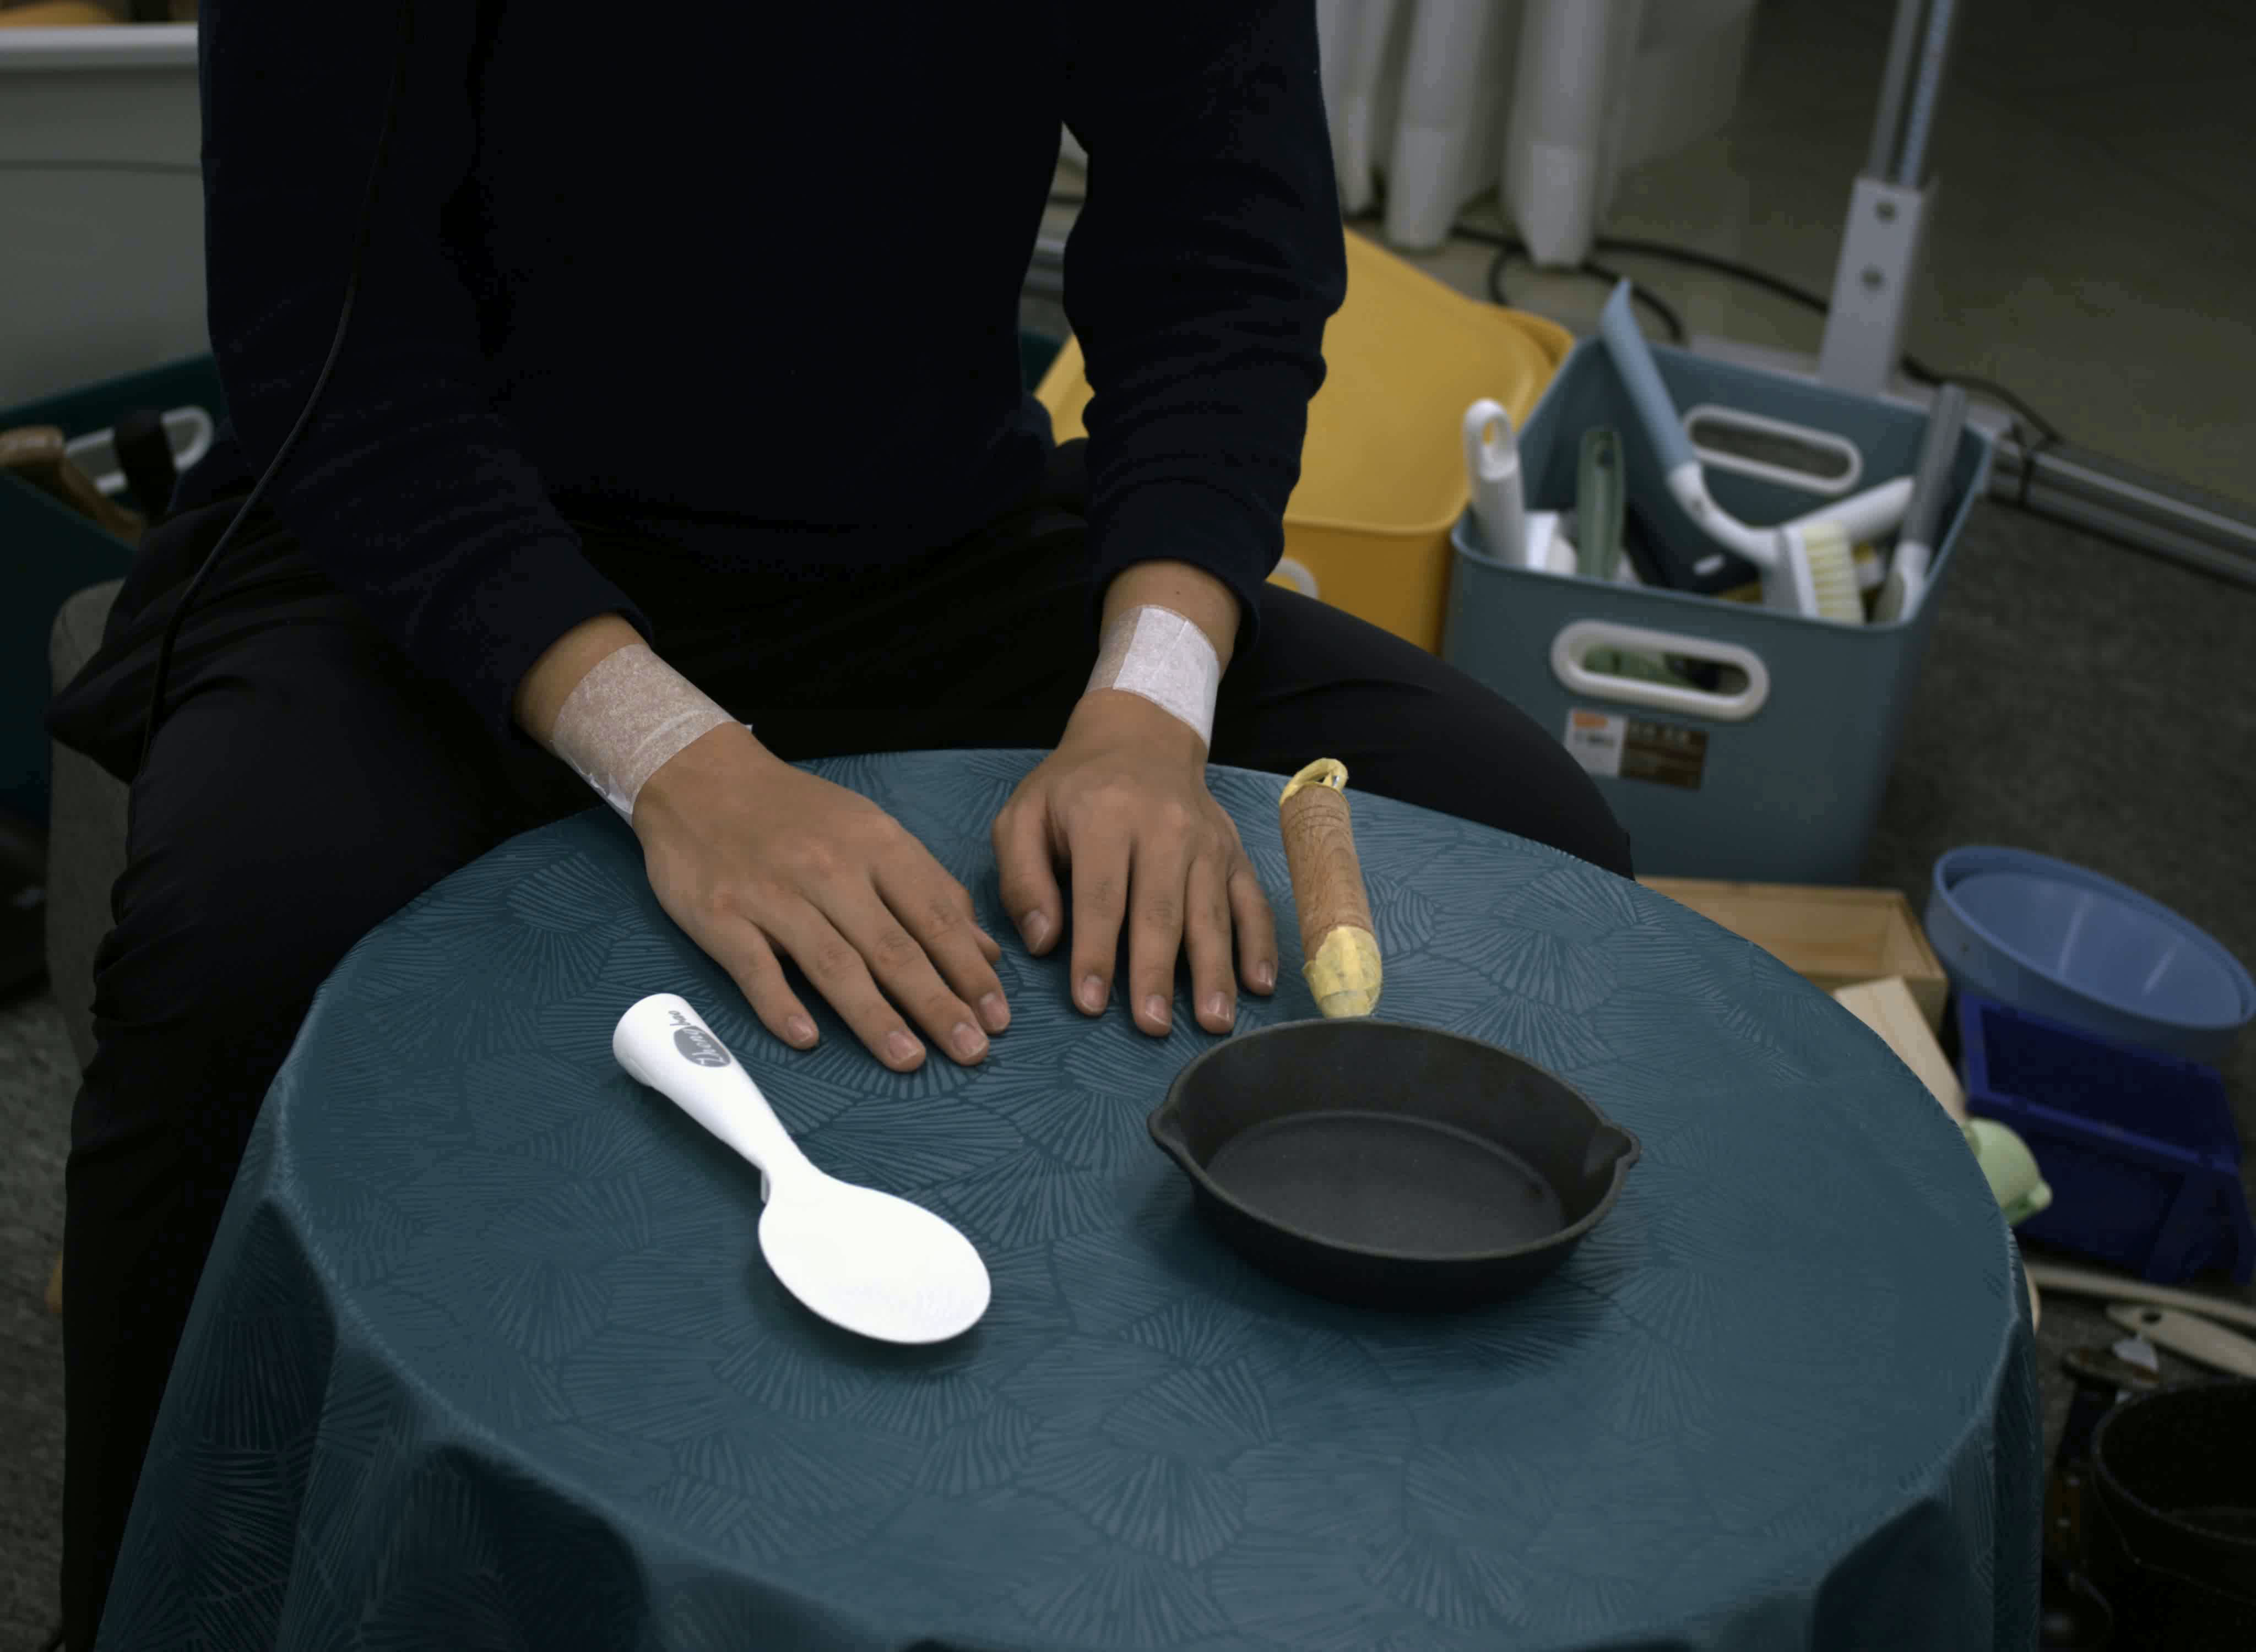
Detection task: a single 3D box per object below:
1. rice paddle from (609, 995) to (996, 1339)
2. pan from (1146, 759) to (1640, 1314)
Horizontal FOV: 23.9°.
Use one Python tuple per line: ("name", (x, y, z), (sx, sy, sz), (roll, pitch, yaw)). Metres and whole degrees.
("rice paddle", (-0.111, 0.115, 1.763), (0.068, 0.029, 0.207), (-13, 32, -30))
("pan", (0.083, 0.071, 1.870), (0.168, 0.049, 0.326), (3, 29, -6))
